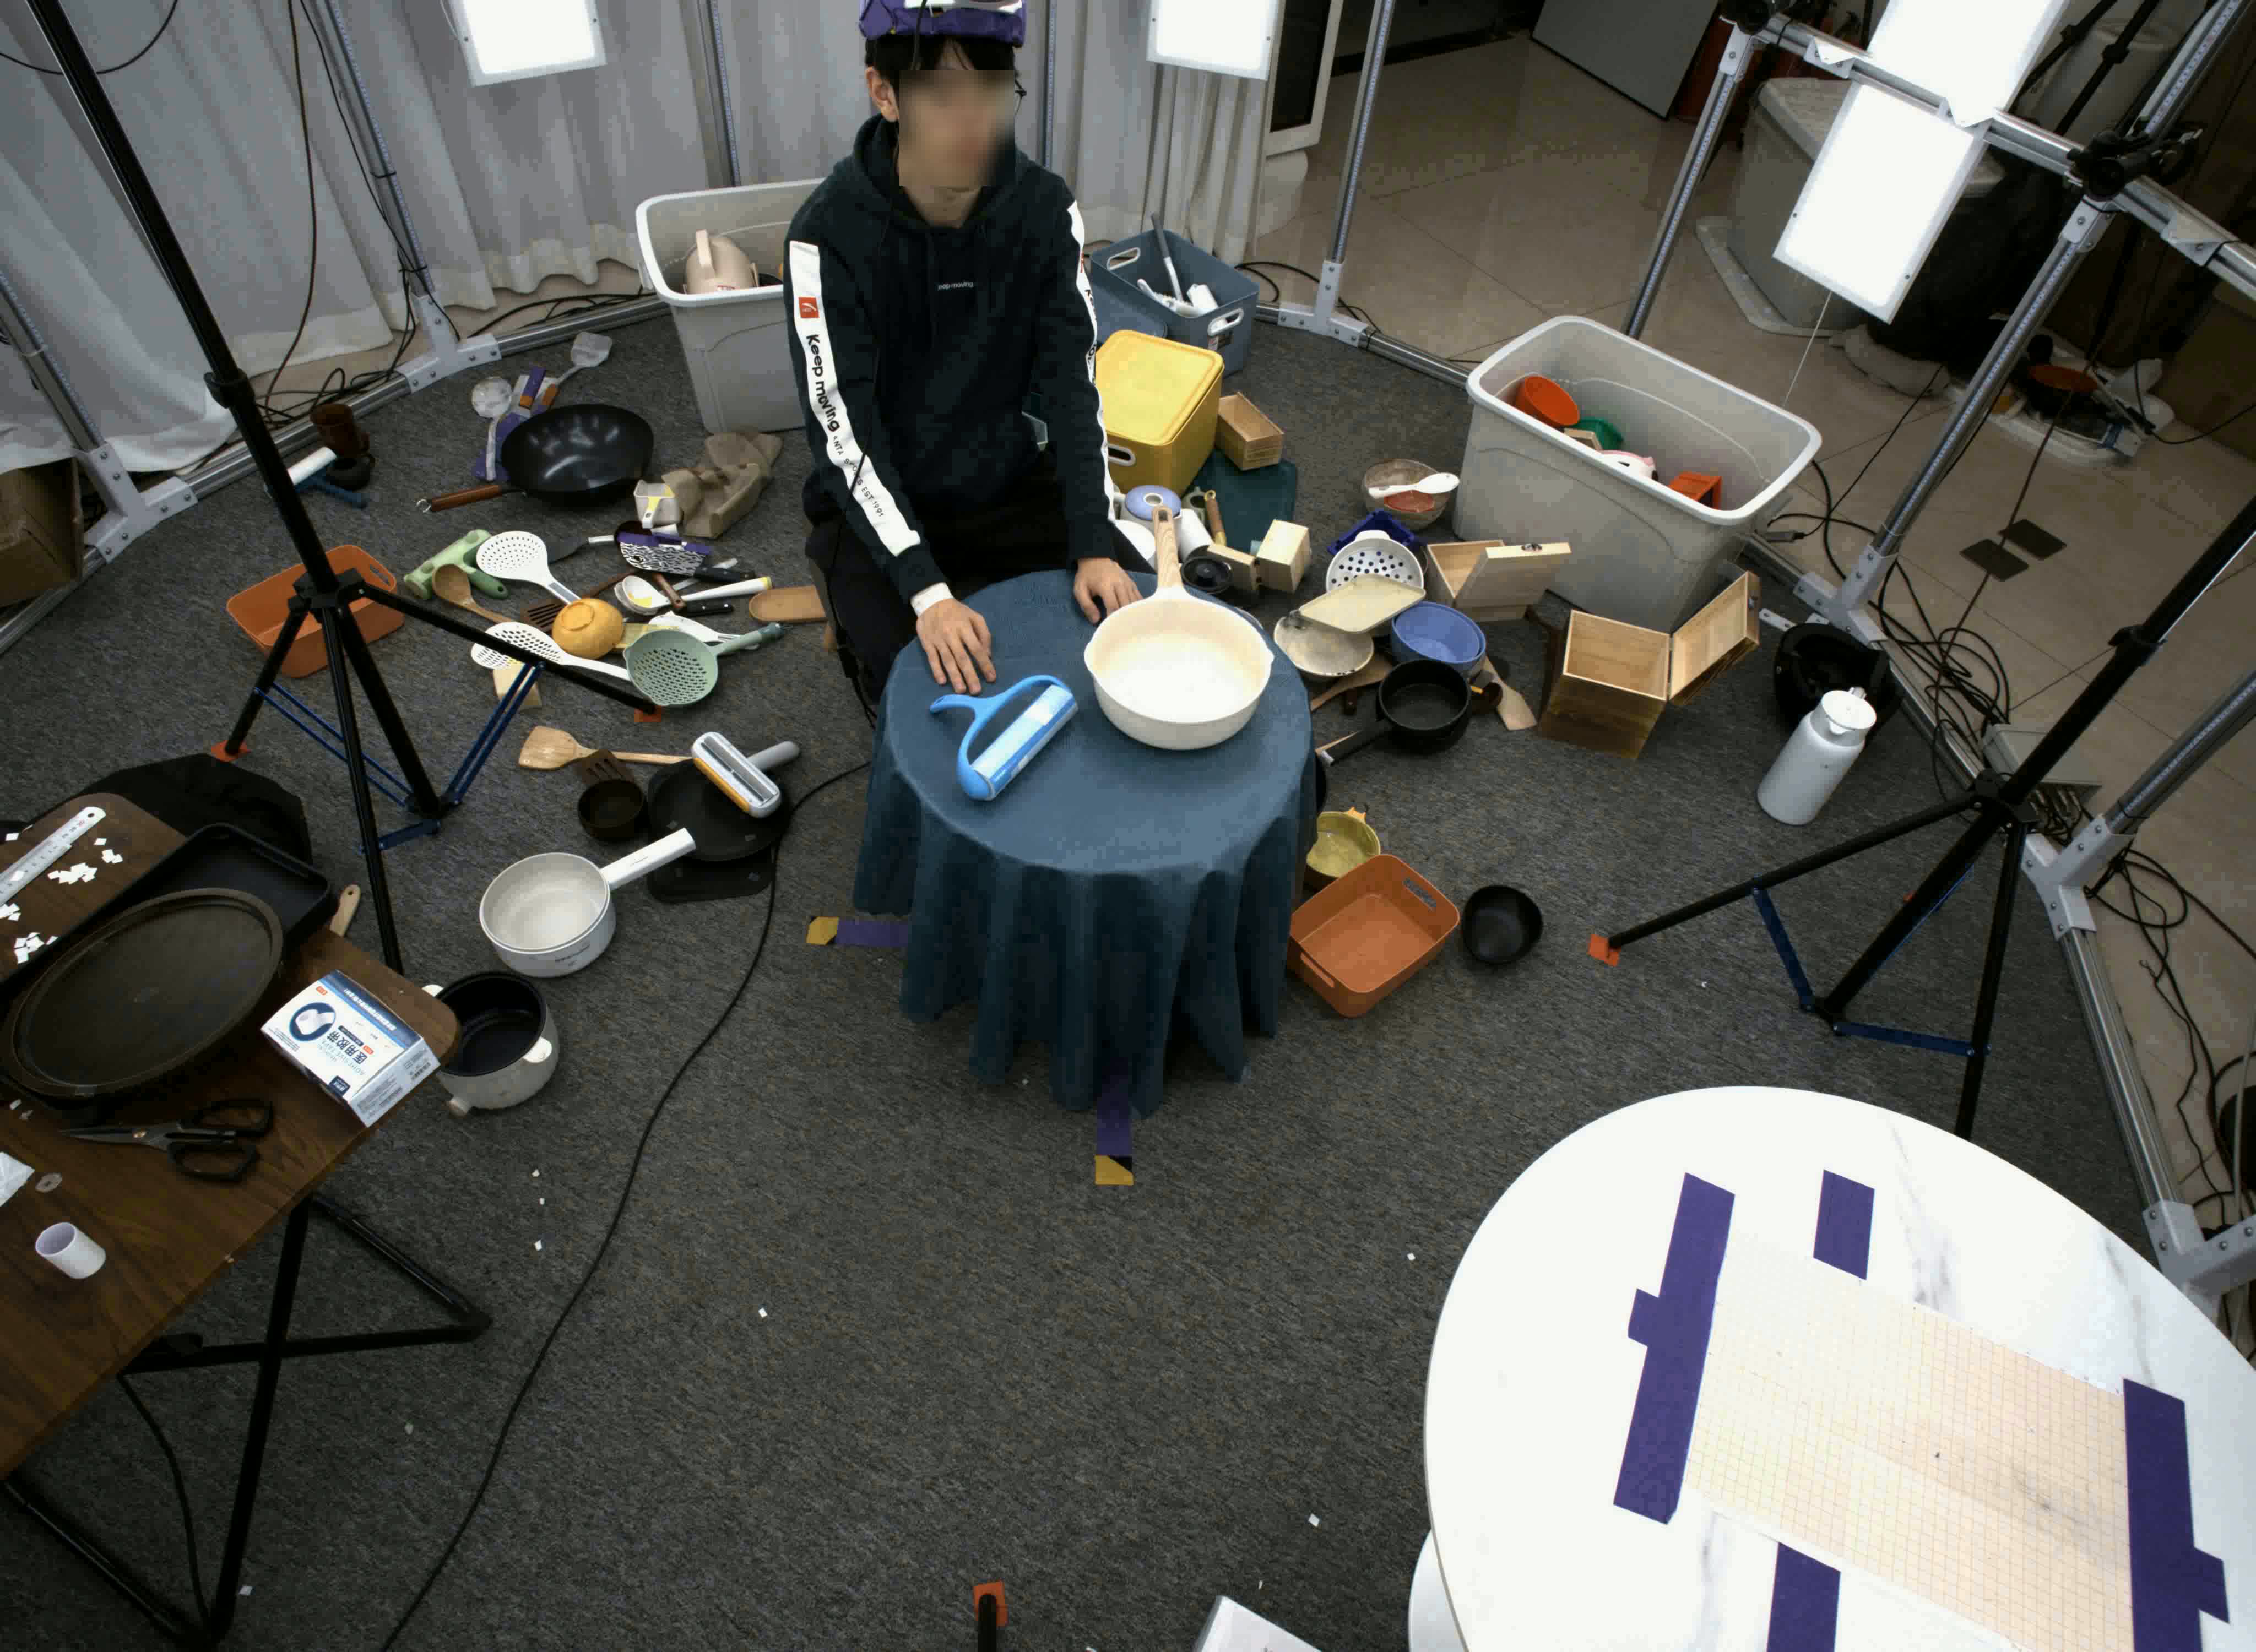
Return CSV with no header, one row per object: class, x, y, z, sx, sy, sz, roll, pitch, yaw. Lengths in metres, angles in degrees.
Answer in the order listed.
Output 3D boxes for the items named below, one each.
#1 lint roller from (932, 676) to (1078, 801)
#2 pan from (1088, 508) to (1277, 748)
lint roller,-0.192,-0.139,1.739,0.182,0.066,0.232,25,53,17
pan,0.067,-0.286,1.856,0.263,0.099,0.446,-3,49,-4
